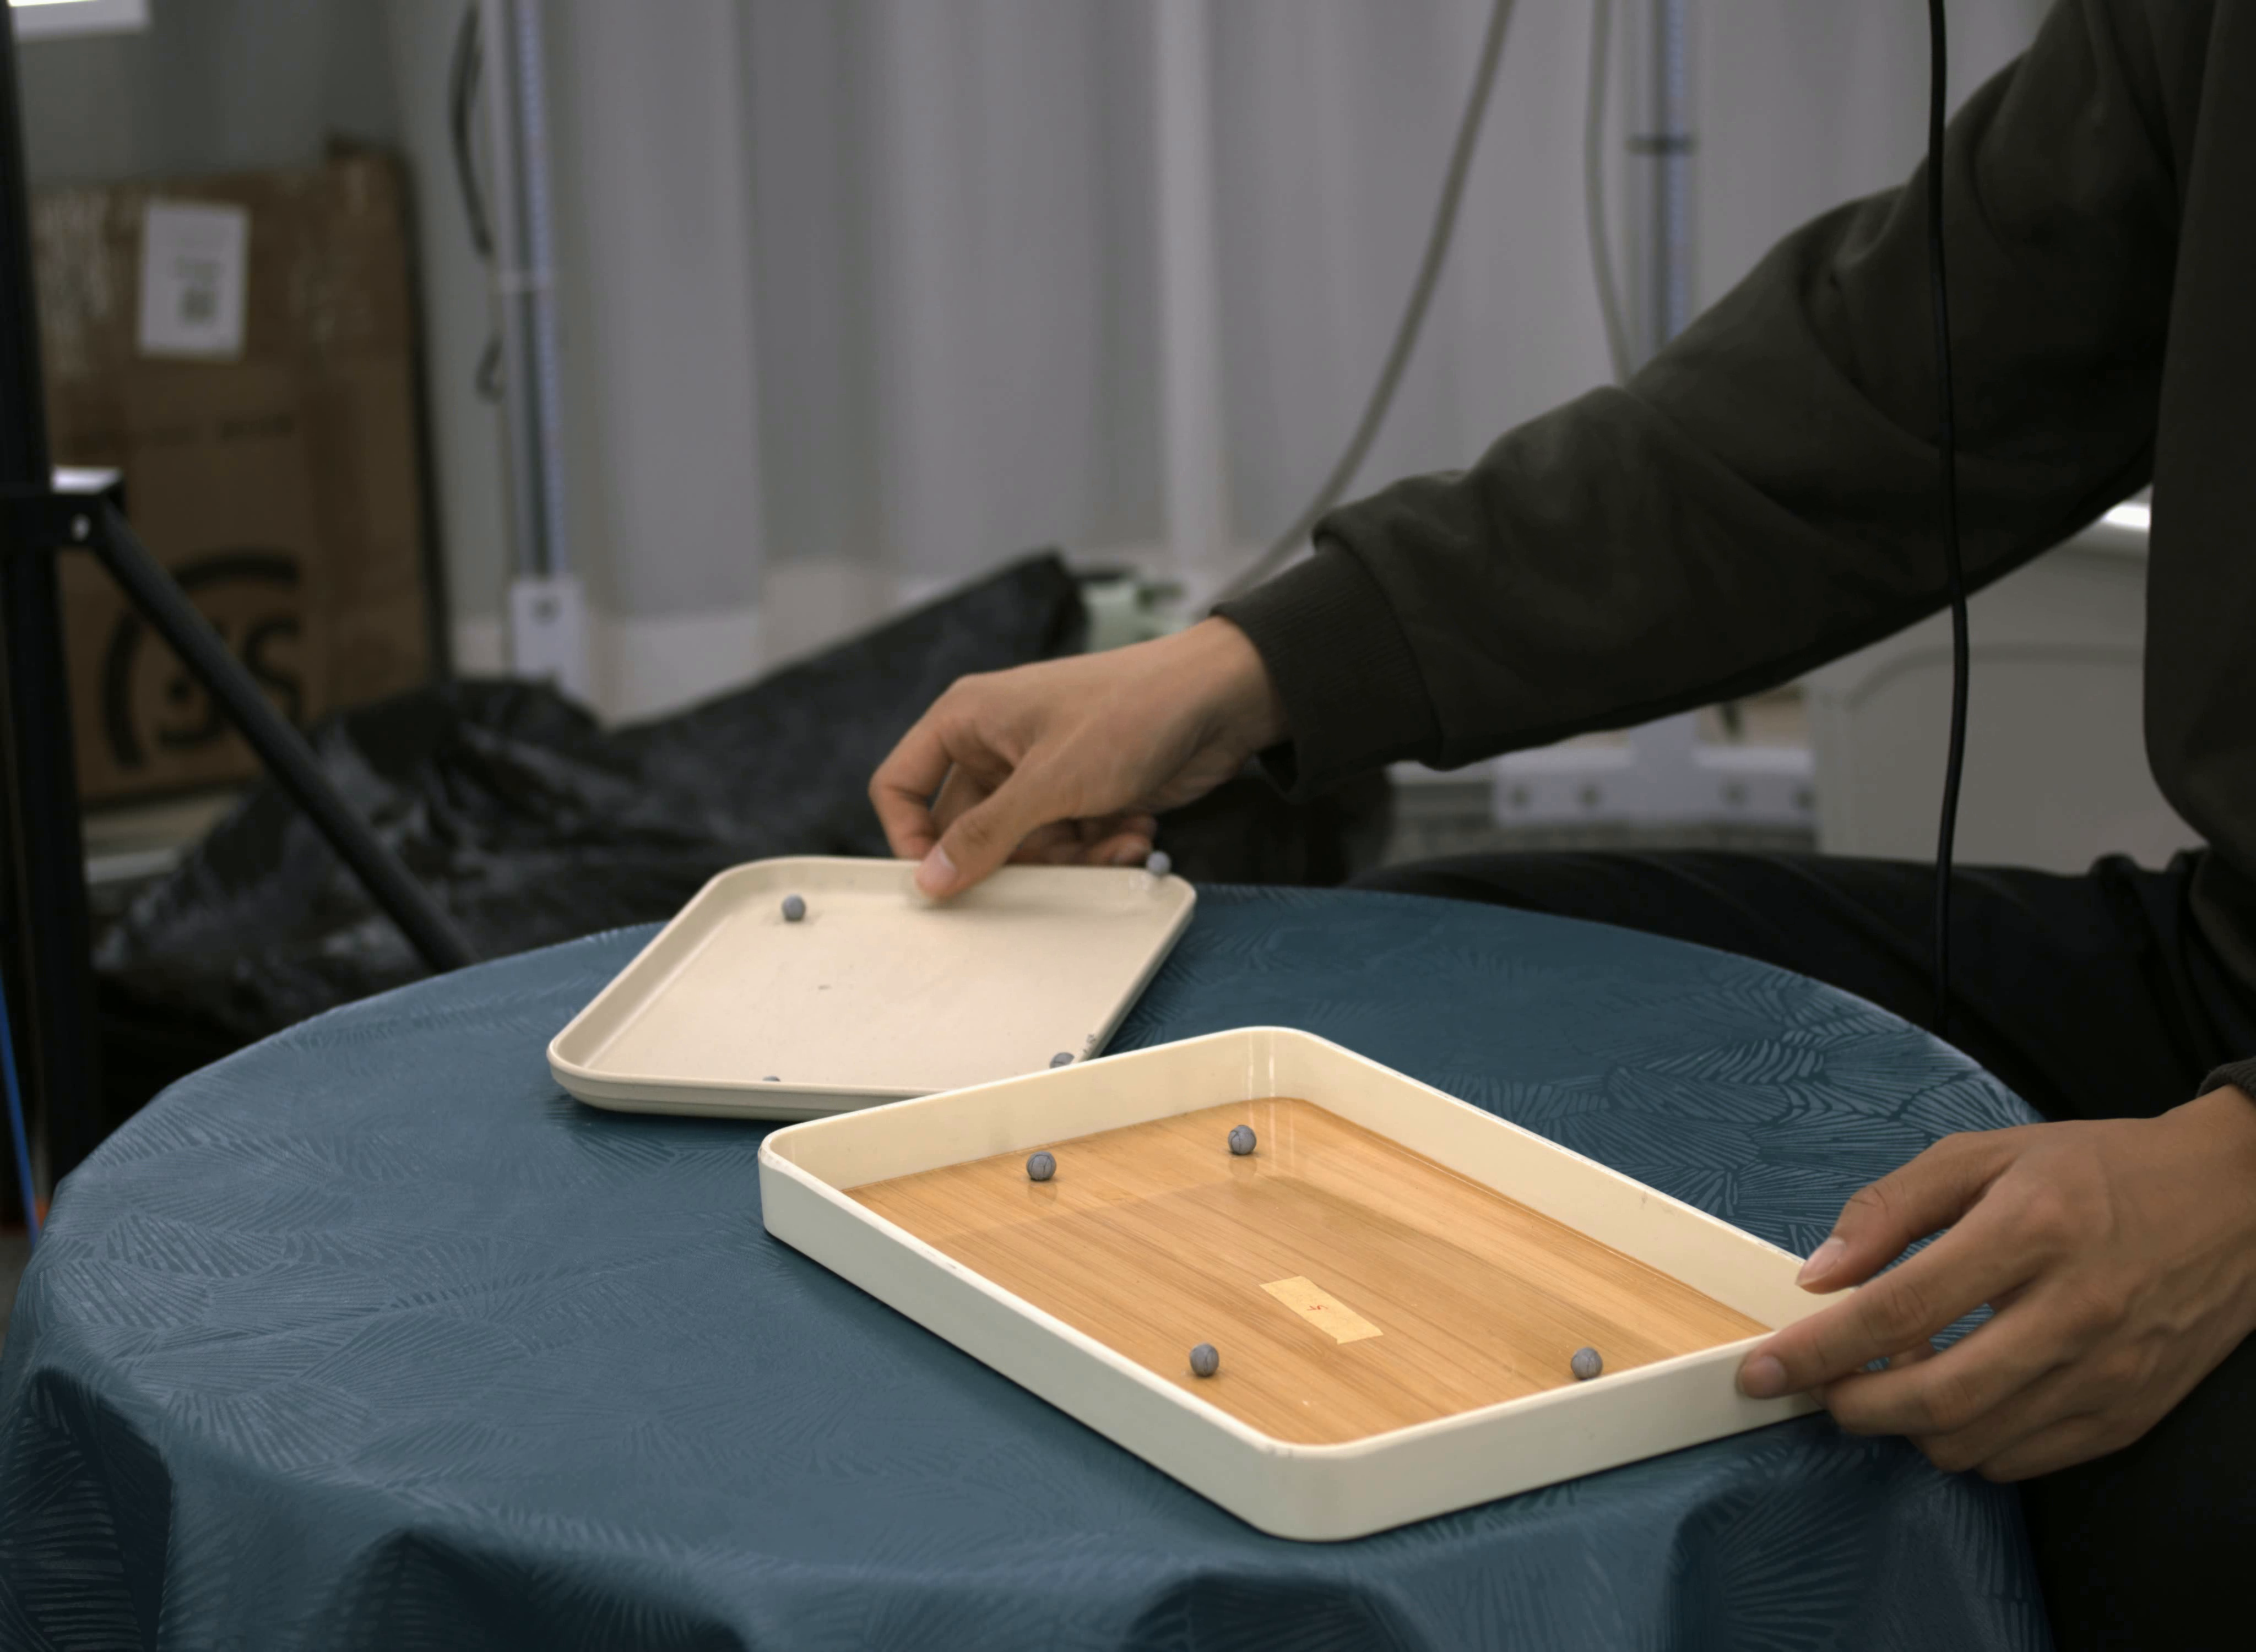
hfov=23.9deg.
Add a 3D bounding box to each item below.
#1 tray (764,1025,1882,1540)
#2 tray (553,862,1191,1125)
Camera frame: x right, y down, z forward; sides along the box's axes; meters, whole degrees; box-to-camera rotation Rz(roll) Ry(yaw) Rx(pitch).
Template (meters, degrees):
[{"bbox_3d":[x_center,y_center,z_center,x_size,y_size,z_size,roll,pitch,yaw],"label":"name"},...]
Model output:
[{"bbox_3d":[0.047,0.120,1.463,0.187,0.027,0.307,-11,18,-29],"label":"tray"},{"bbox_3d":[-0.078,0.054,1.731,0.172,0.017,0.238,1,16,13],"label":"tray"}]
